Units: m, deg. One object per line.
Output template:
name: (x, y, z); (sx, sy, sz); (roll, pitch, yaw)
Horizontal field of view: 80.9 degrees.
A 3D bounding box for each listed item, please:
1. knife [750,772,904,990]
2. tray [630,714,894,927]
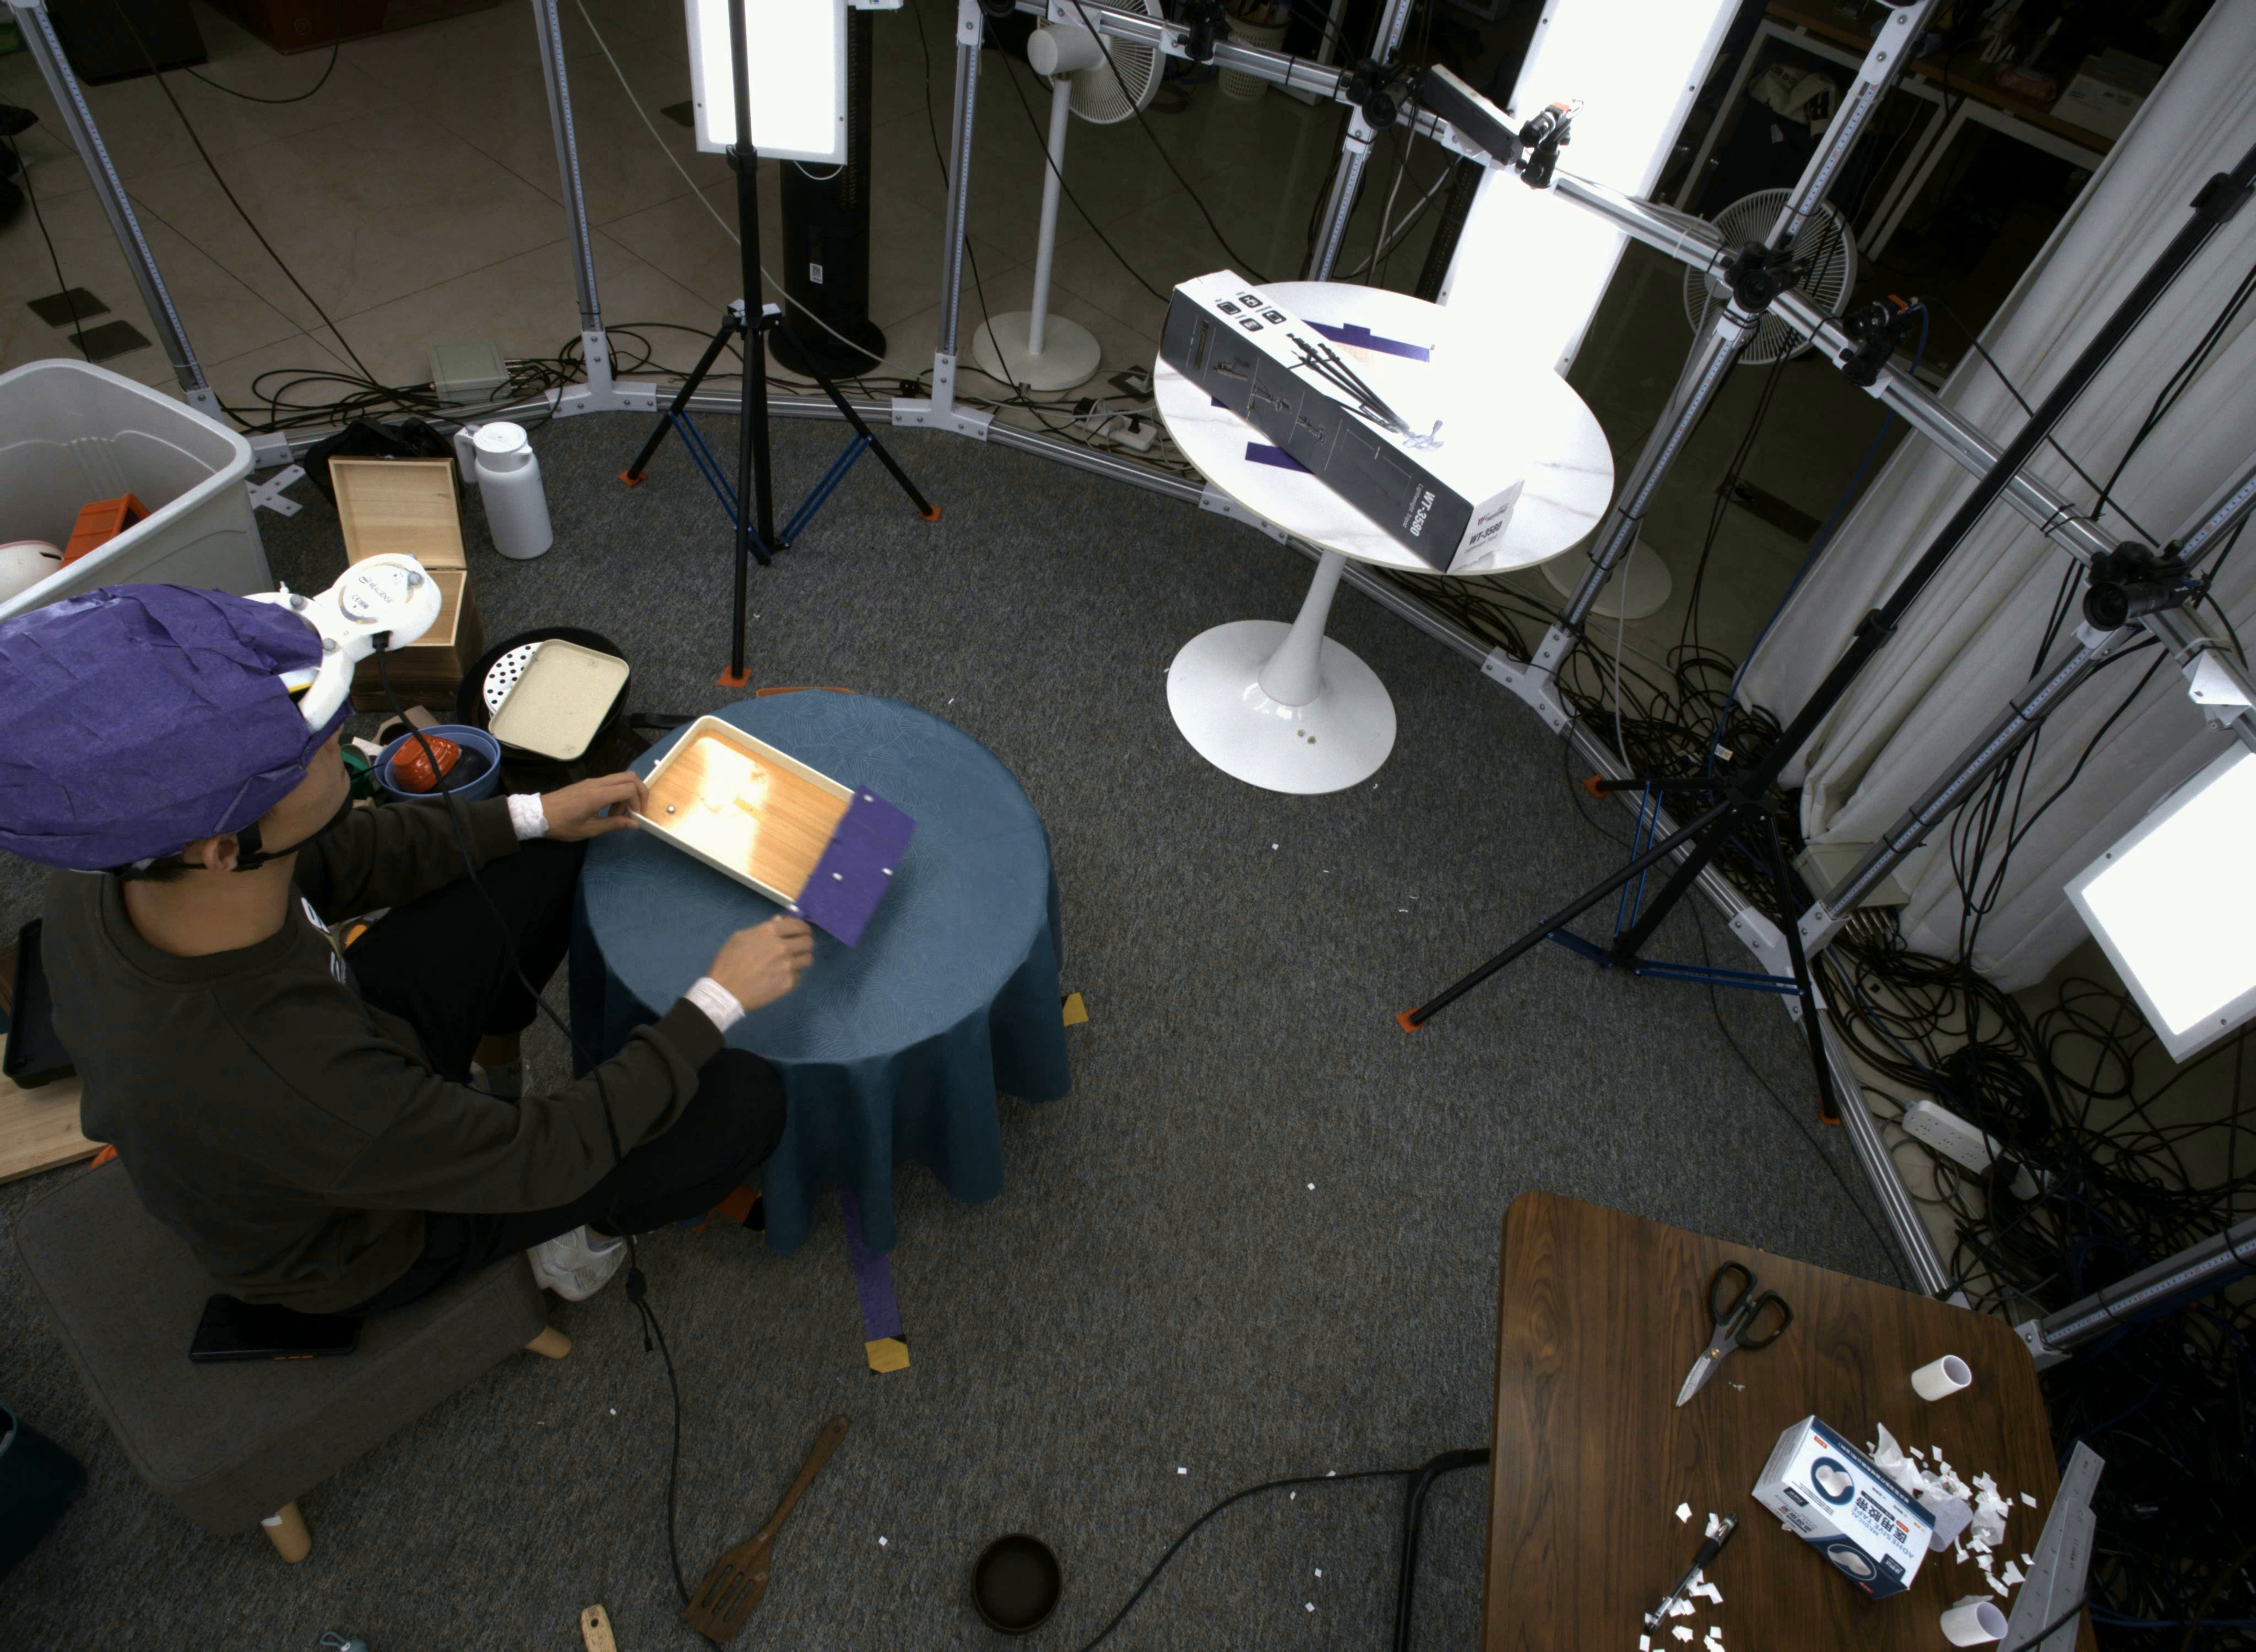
knife: (-0.354, 0.075, 1.575); (0.106, 0.032, 0.312); (38, 51, -24)
tray: (-0.472, -0.011, 1.683); (0.300, 0.027, 0.190); (30, 52, -4)
